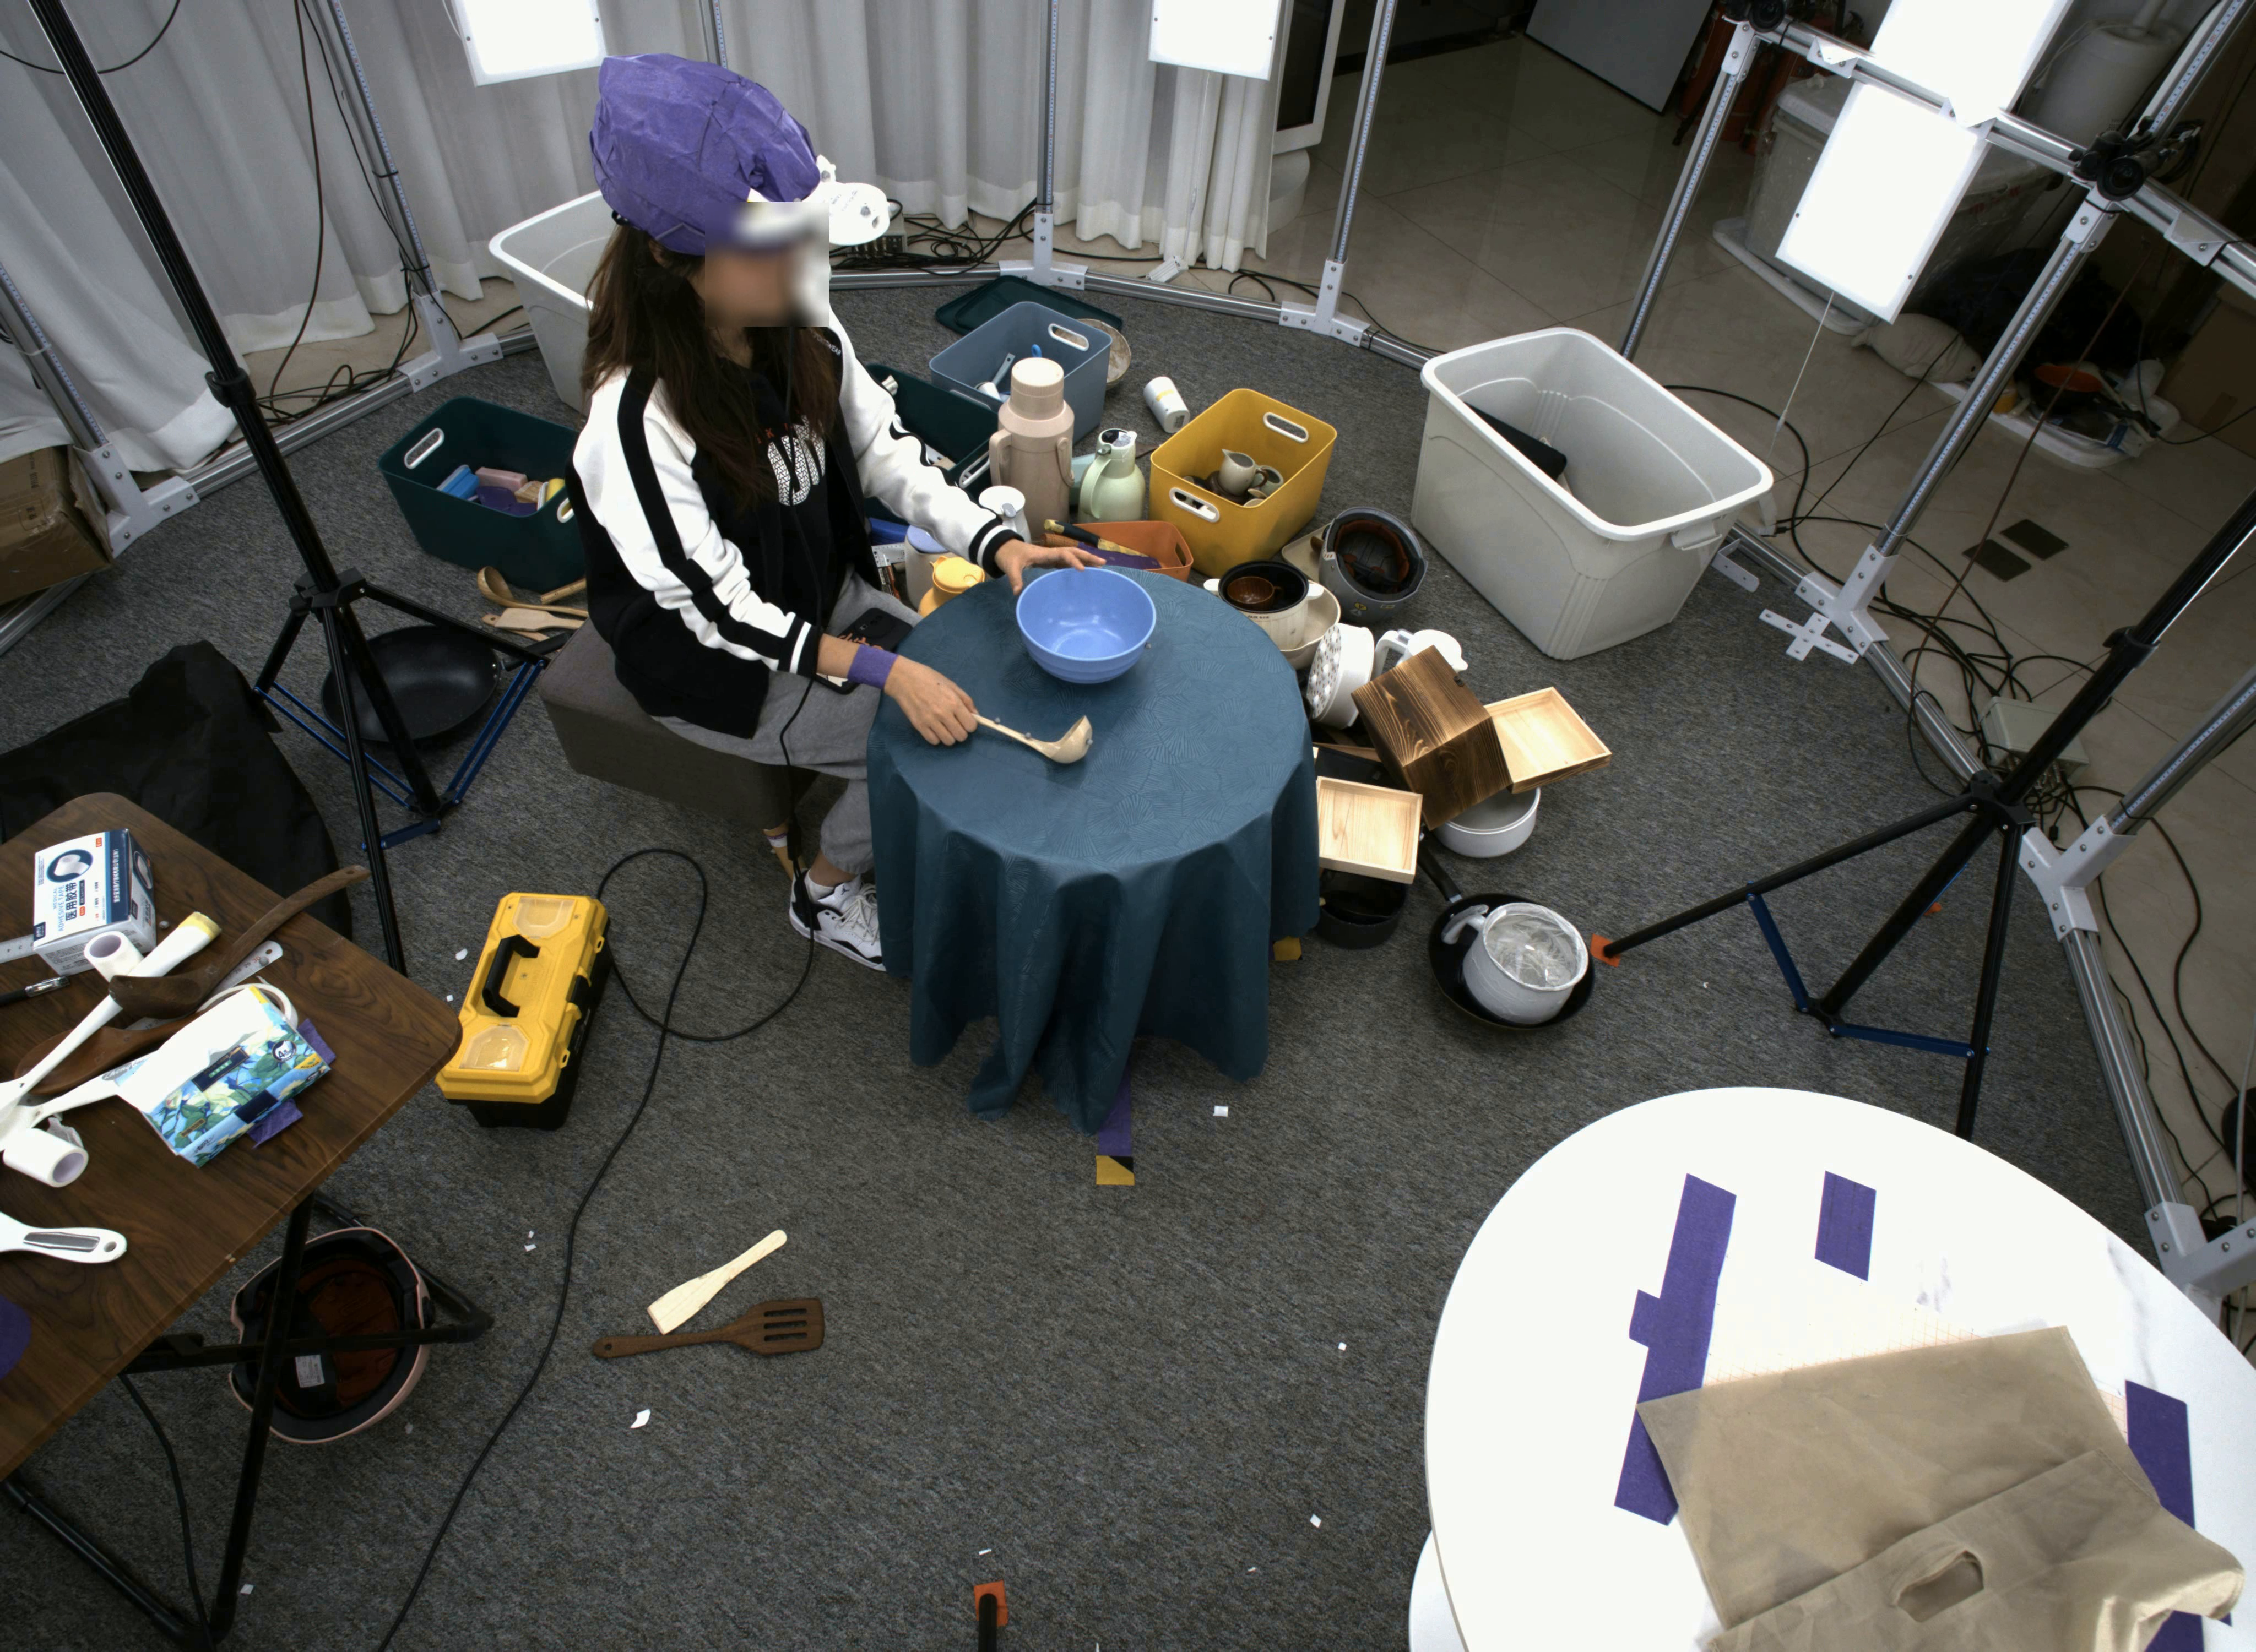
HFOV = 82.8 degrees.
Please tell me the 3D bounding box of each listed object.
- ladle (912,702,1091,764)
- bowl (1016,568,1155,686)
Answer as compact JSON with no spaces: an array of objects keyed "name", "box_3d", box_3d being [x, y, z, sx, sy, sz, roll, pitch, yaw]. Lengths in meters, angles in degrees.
[{"name":"ladle","box_3d":[-0.173,-0.151,1.736,0.255,0.071,0.073,19,43,9]},{"name":"bowl","box_3d":[-0.061,-0.269,1.843,0.196,0.093,0.201,1,50,-2]}]
